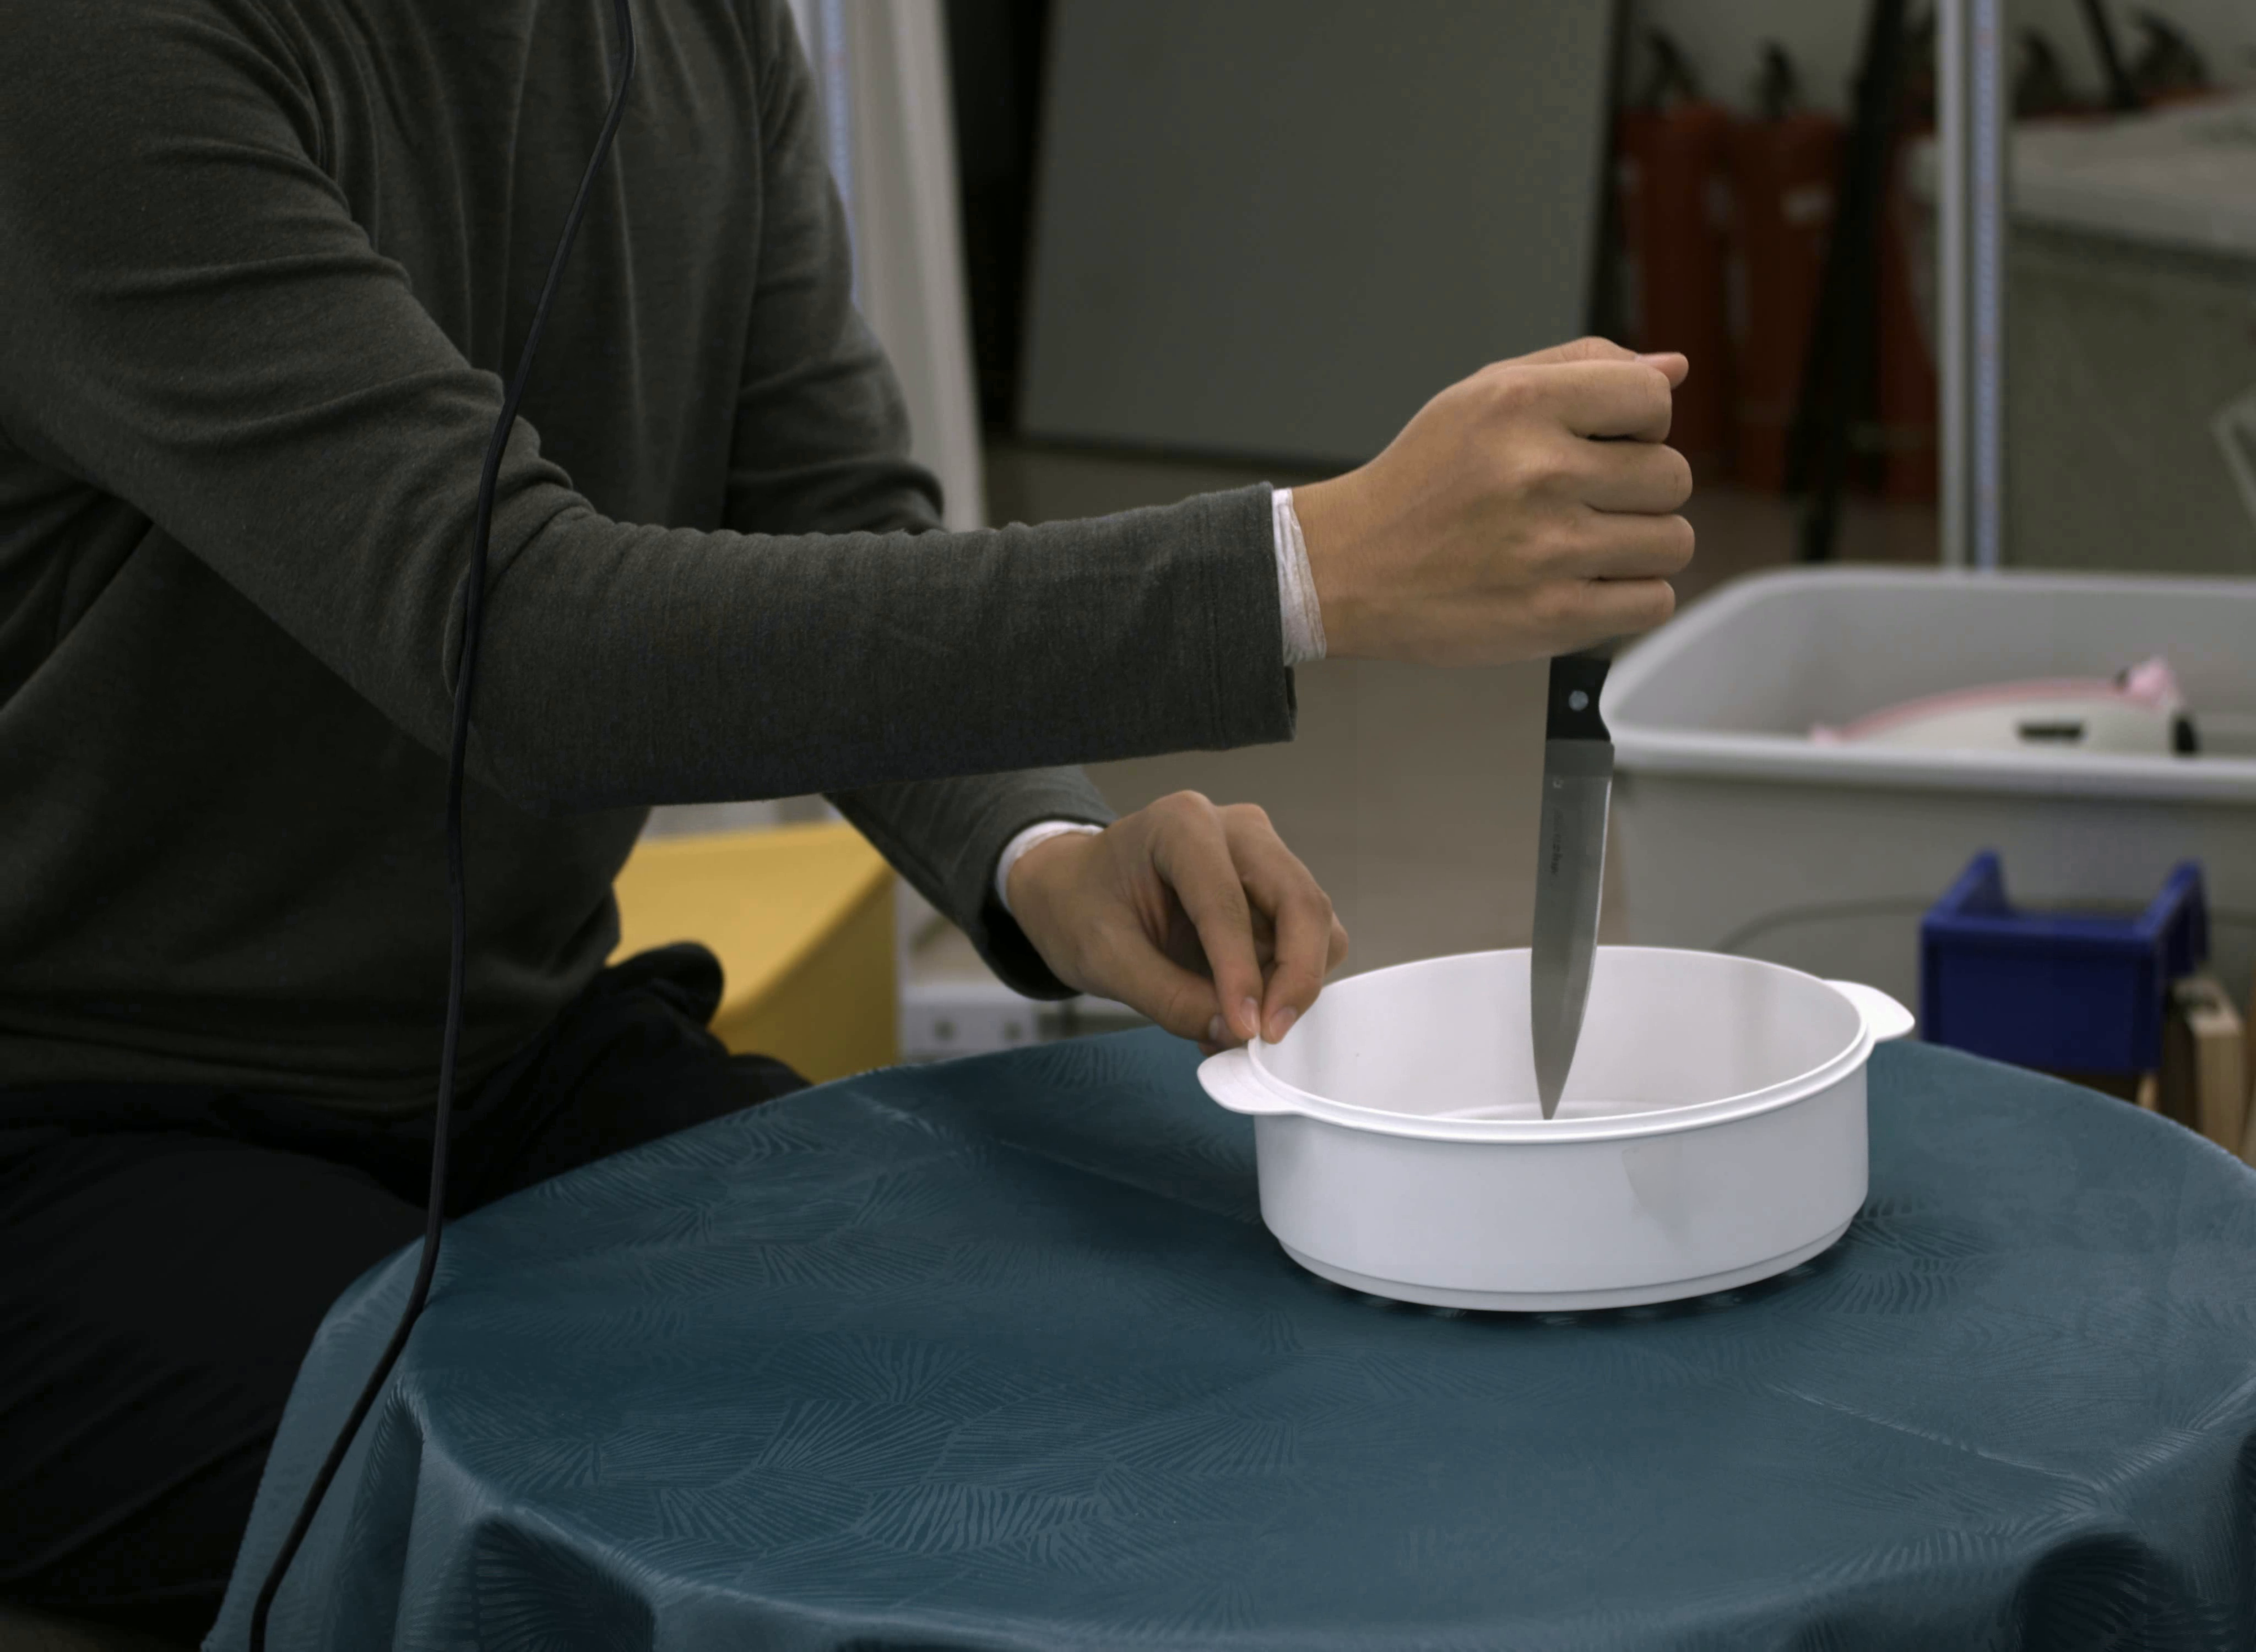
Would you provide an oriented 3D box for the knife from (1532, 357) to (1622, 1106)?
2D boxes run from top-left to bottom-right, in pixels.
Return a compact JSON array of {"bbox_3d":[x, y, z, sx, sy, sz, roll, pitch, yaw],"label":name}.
[{"bbox_3d":[0.137,-0.024,1.666,0.024,0.241,0.016,2,12,0],"label":"knife"}]

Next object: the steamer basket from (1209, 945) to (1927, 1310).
[{"bbox_3d":[0.141,0.095,1.698,0.227,0.070,0.203,-8,13,-9],"label":"steamer basket"}]
